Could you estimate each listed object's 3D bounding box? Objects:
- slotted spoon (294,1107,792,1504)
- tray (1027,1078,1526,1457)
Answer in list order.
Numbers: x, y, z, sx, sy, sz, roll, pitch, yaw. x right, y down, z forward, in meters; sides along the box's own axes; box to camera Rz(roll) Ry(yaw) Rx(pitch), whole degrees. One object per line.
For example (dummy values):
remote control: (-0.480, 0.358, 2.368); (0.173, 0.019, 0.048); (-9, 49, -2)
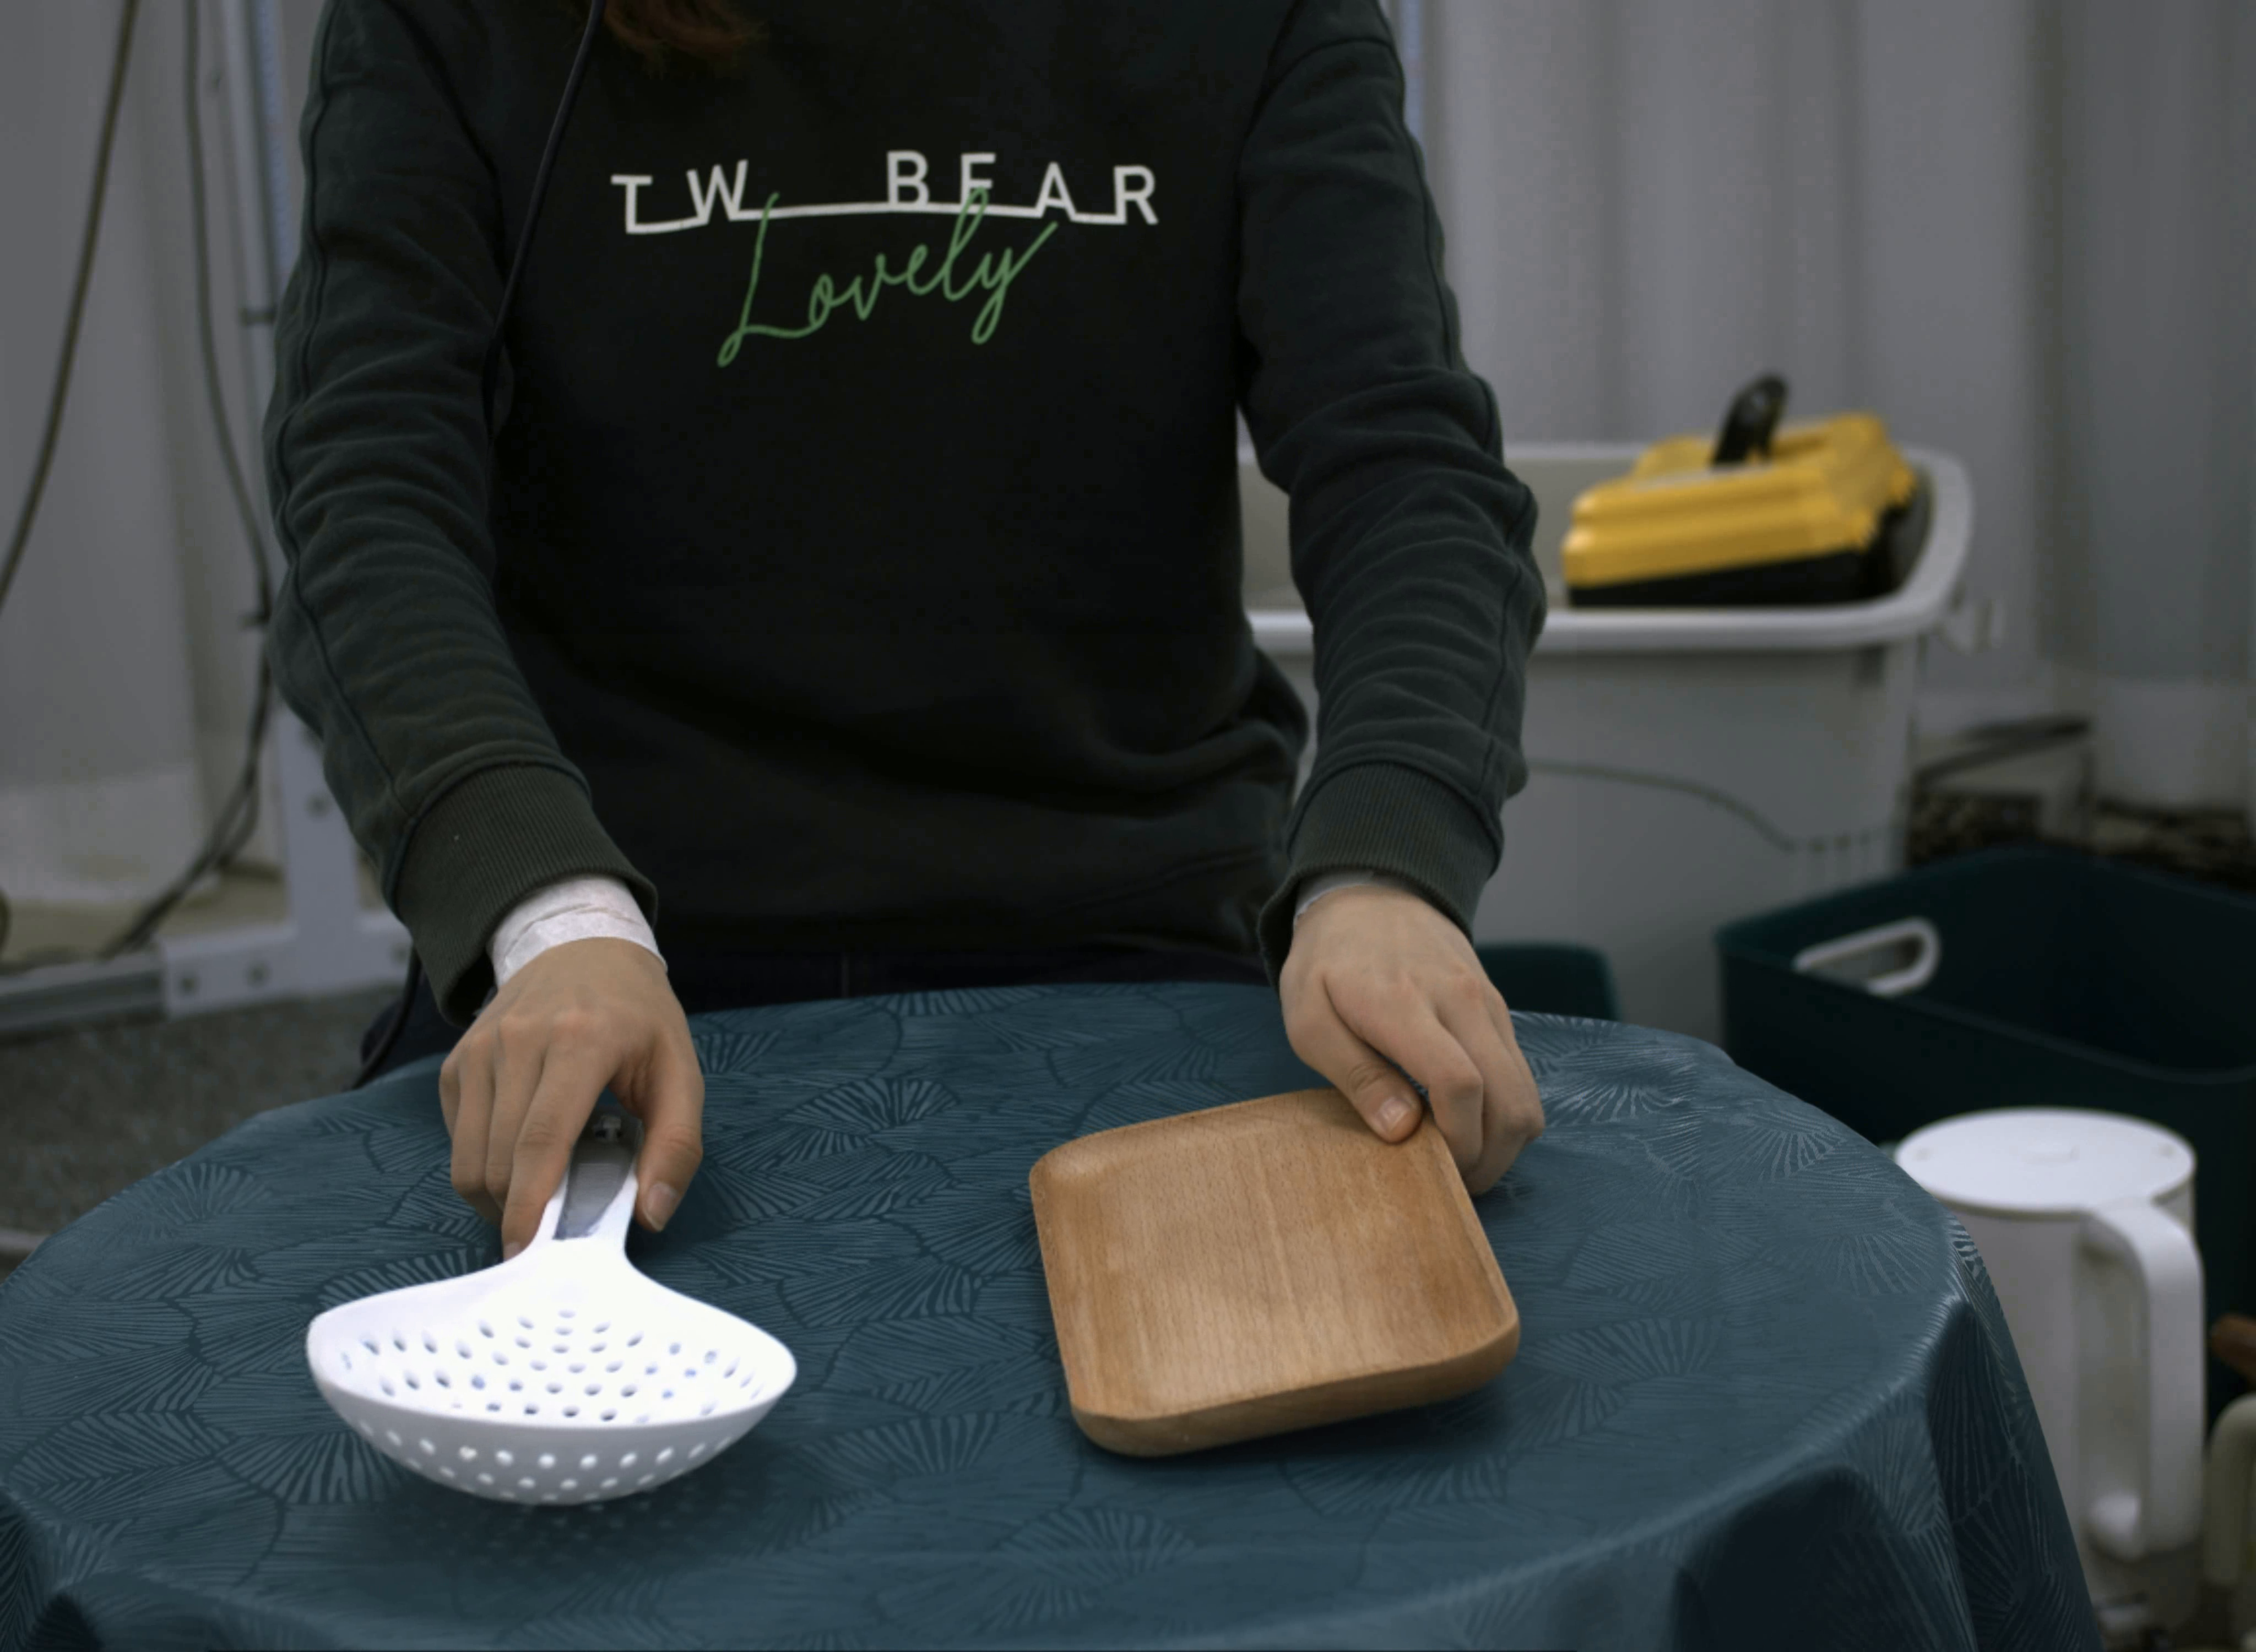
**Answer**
slotted spoon: (-0.161, 0.130, 1.591); (0.135, 0.045, 0.352); (6, 15, -2)
tray: (0.040, 0.127, 1.602); (0.130, 0.023, 0.252); (-9, 14, -2)
